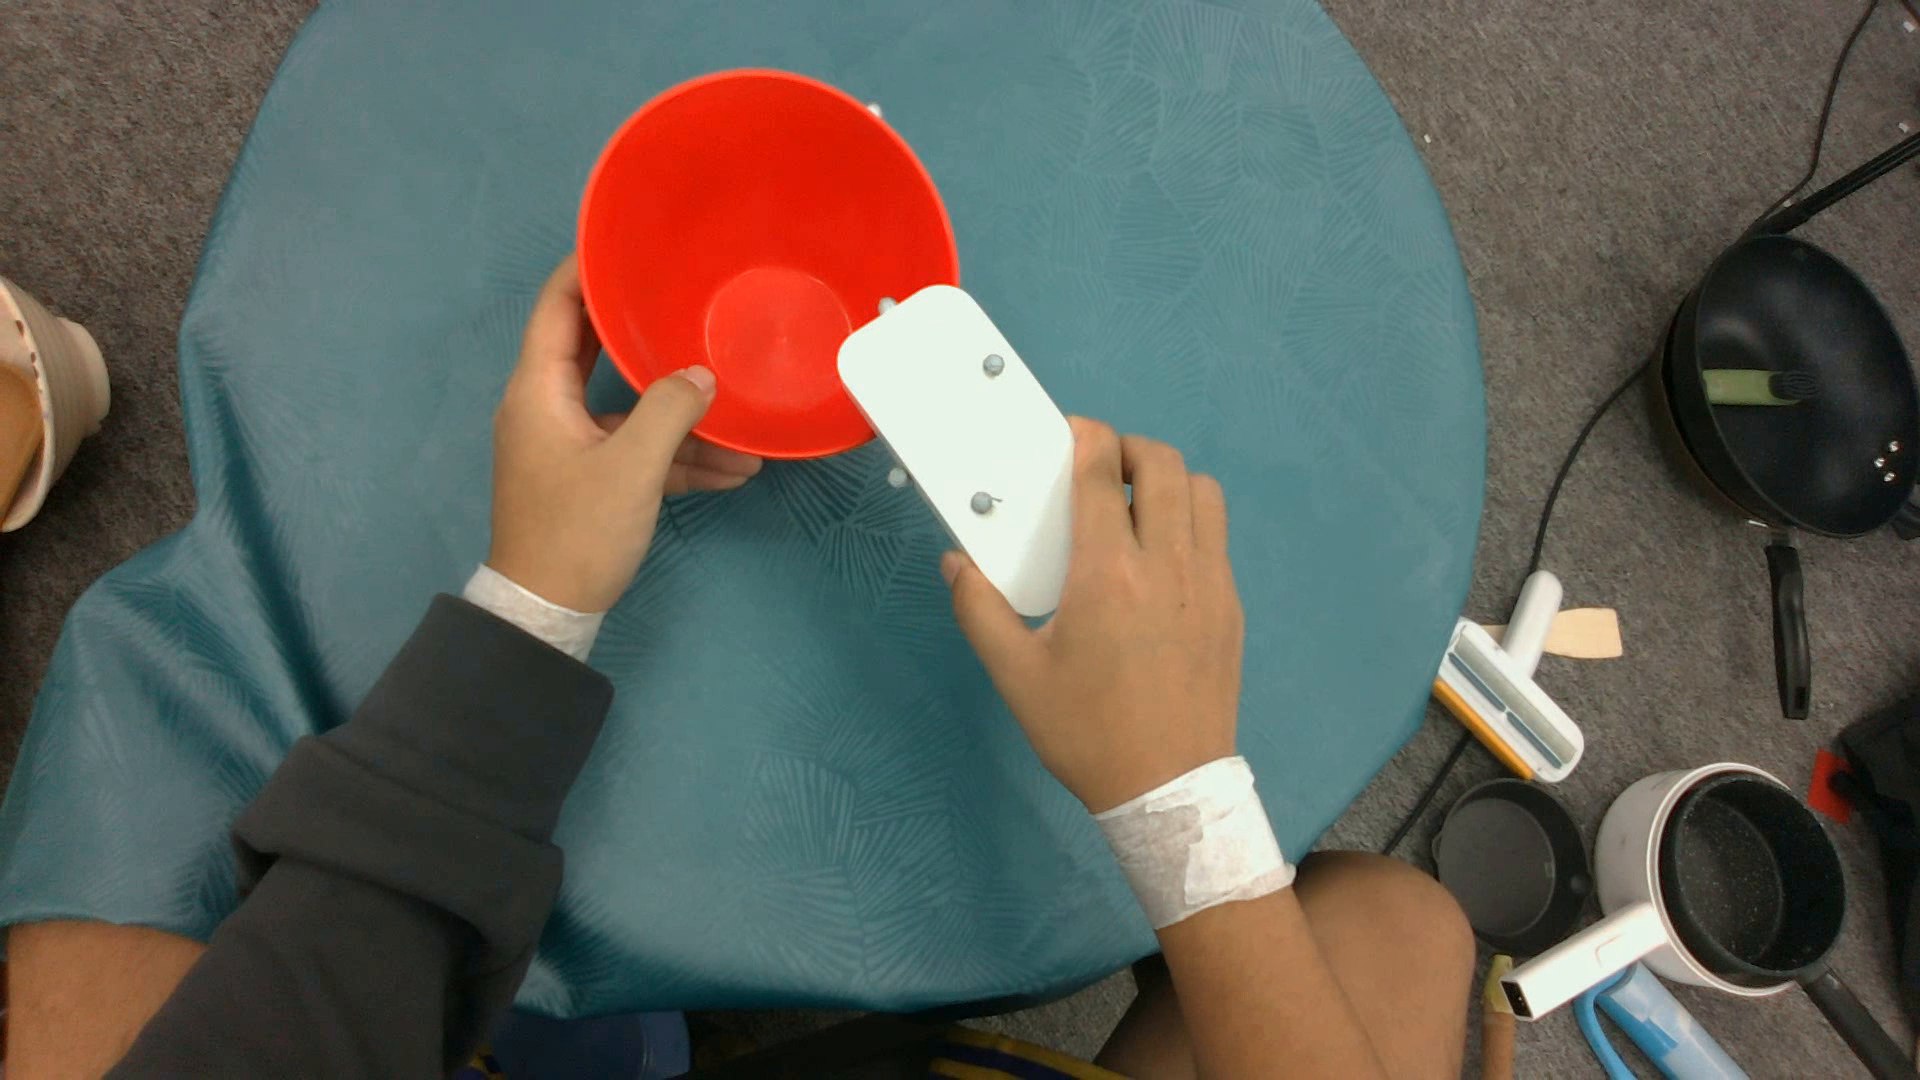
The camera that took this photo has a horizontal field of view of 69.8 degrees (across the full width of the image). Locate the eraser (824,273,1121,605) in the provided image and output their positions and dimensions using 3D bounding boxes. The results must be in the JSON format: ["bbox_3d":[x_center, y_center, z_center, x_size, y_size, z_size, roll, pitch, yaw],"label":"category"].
[{"bbox_3d":[0.003,-0.038,0.530,0.063,0.034,0.131,-33,82,-11],"label":"eraser"}]

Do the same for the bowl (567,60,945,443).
[{"bbox_3d":[-0.085,-0.107,0.569,0.148,0.104,0.148,2,84,-15],"label":"bowl"}]
